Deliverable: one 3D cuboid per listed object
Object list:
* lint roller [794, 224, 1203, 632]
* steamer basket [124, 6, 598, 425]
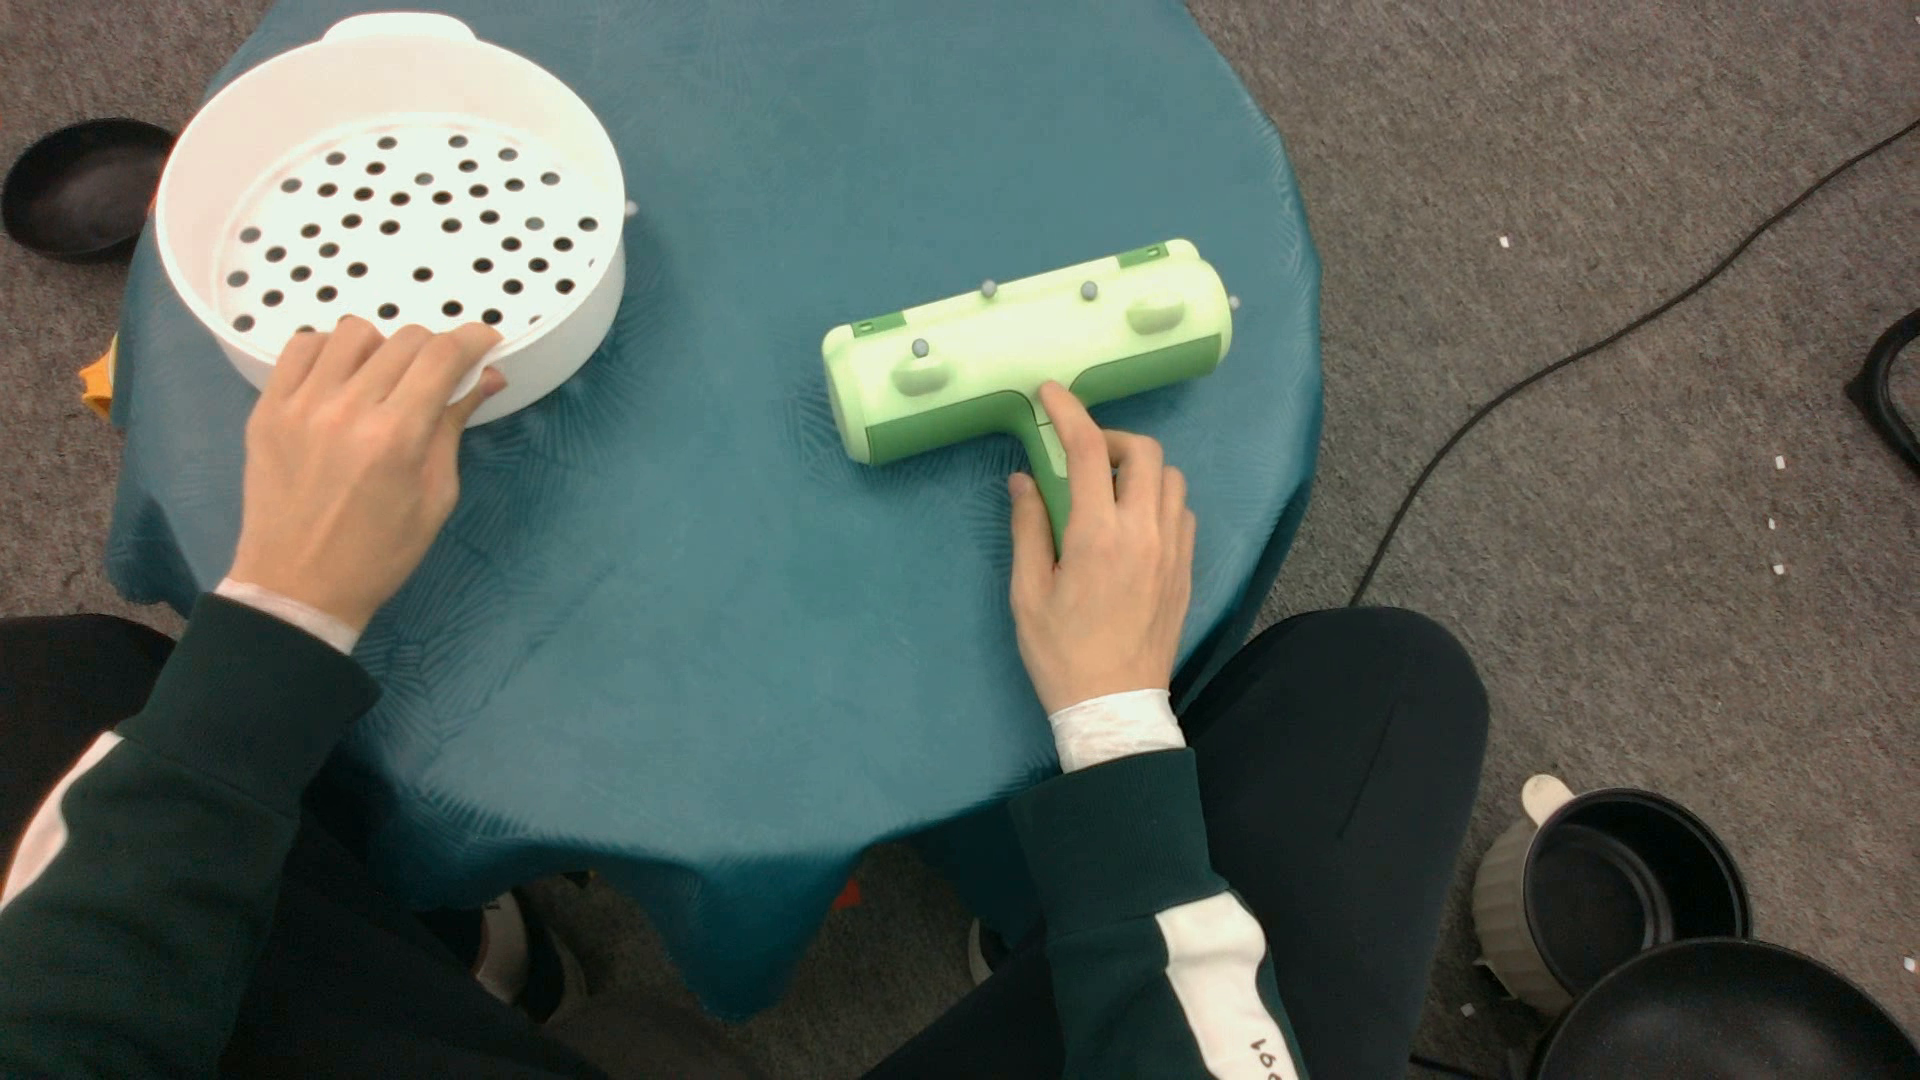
[{"bbox_3d":[0.039,-0.049,0.648,0.199,0.082,0.183,-17,72,-10],"label":"lint roller"},{"bbox_3d":[-0.275,-0.149,0.654,0.202,0.069,0.231,-7,64,-14],"label":"steamer basket"}]
